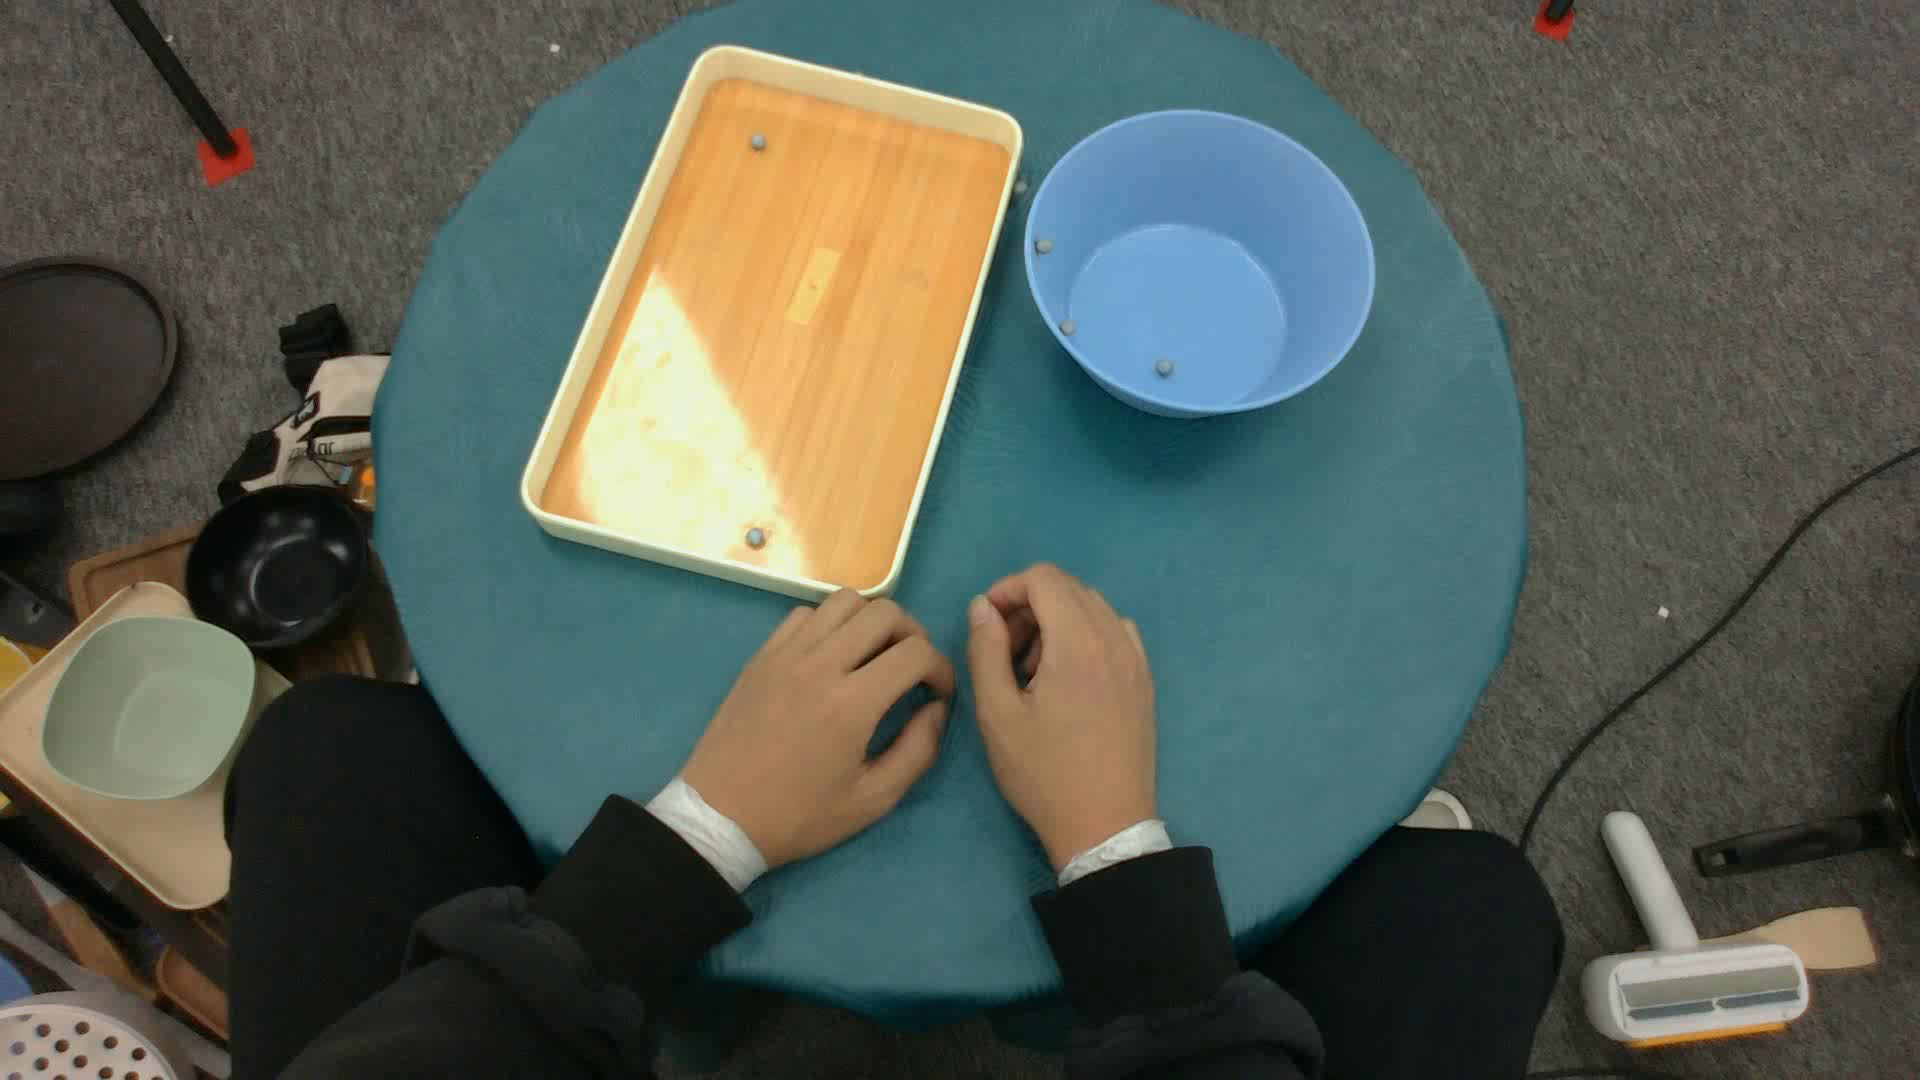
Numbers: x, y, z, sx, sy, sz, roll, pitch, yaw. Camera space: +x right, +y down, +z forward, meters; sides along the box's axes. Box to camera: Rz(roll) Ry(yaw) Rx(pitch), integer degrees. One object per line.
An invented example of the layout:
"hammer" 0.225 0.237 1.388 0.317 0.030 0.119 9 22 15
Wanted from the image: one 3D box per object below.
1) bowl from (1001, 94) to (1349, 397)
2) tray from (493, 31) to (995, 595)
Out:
"bowl" 0.107 -0.141 0.720 0.176 0.070 0.176 1 68 -2
"tray" -0.104 -0.129 0.725 0.191 0.027 0.301 14 67 1
